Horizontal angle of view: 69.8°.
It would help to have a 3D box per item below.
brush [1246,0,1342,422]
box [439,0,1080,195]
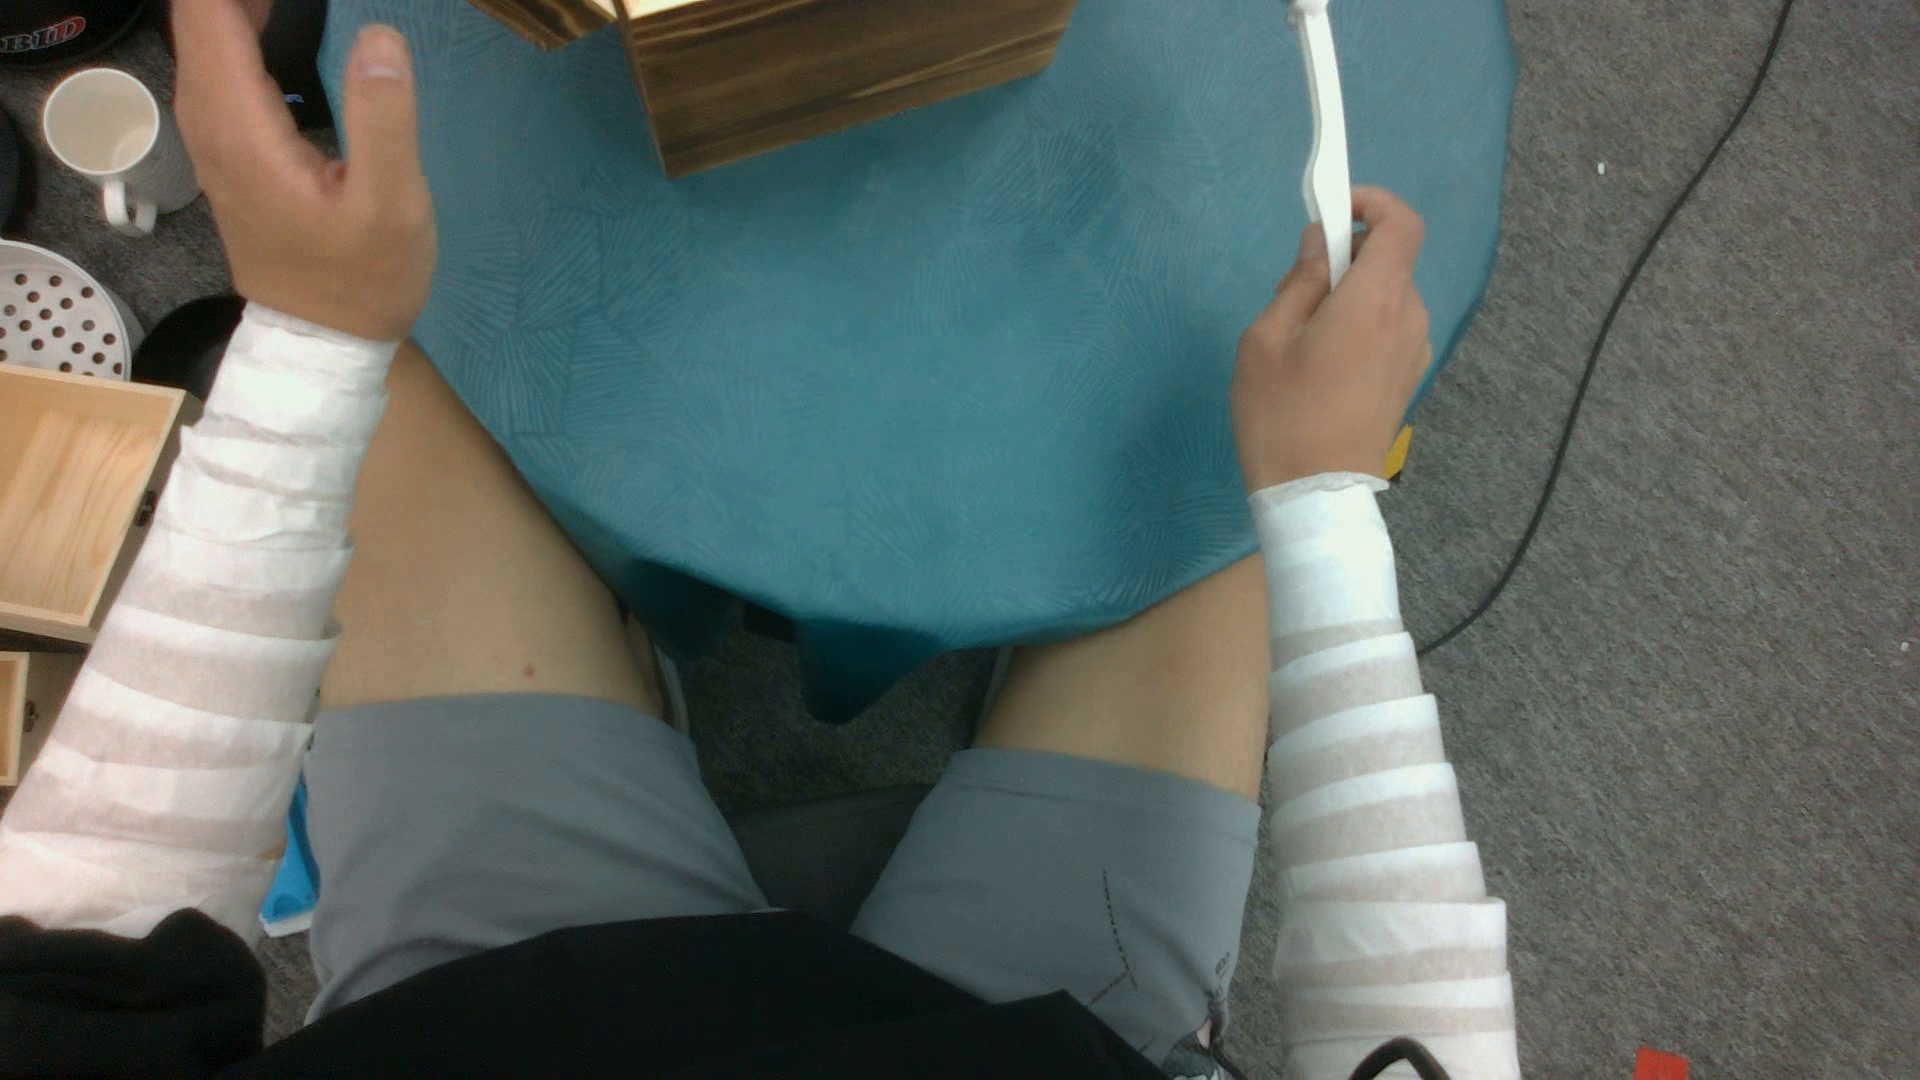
[{"bbox_3d":[0.146,-0.173,0.602,0.050,0.034,0.243,1,104,3],"label":"brush"},{"bbox_3d":[-0.107,-0.294,0.523,0.322,0.375,0.209,-20,88,-9],"label":"box"}]
